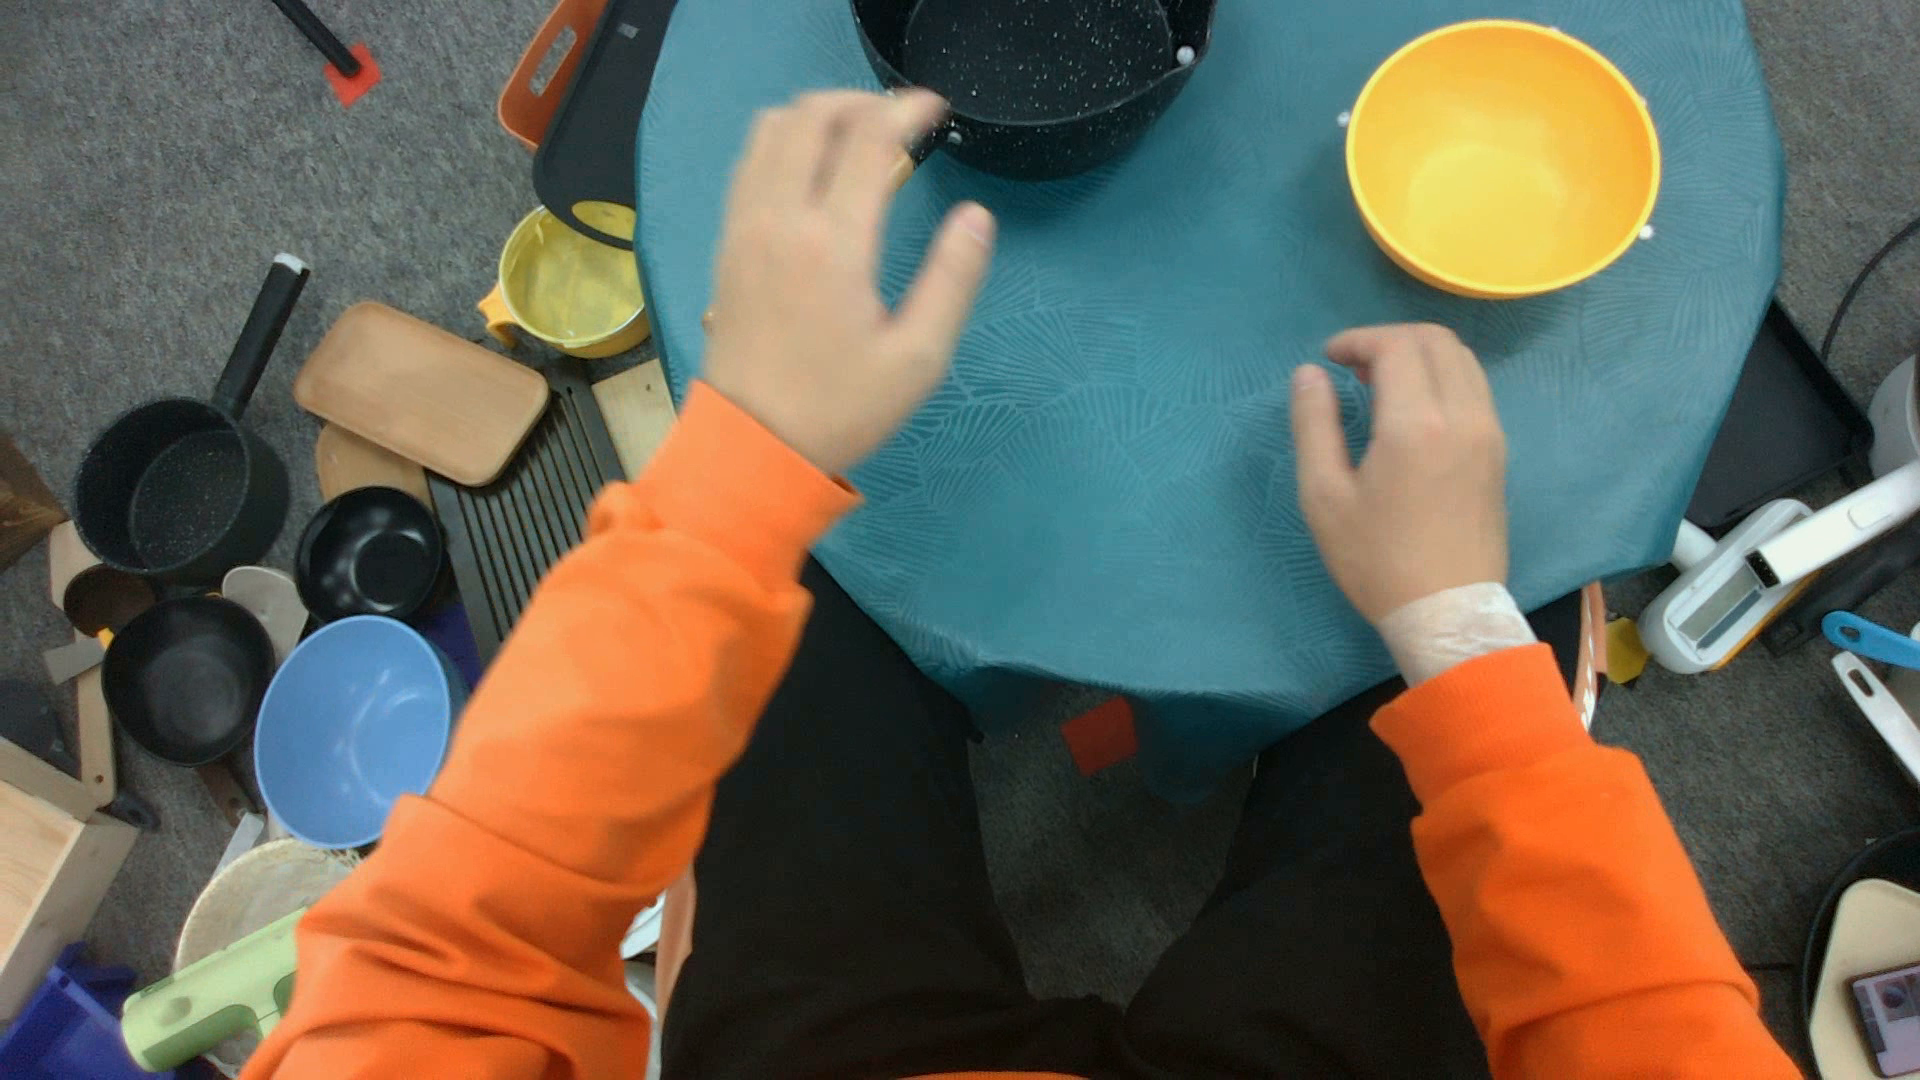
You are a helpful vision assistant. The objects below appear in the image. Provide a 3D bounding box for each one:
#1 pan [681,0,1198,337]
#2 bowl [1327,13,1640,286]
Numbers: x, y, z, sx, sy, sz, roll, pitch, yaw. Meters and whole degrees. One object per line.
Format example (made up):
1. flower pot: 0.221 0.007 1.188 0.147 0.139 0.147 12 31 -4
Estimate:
1. pan: -0.016 -0.220 0.689 0.207 0.108 0.343 33 79 10
2. bowl: 0.253 -0.184 0.686 0.145 0.060 0.145 -1 75 5
